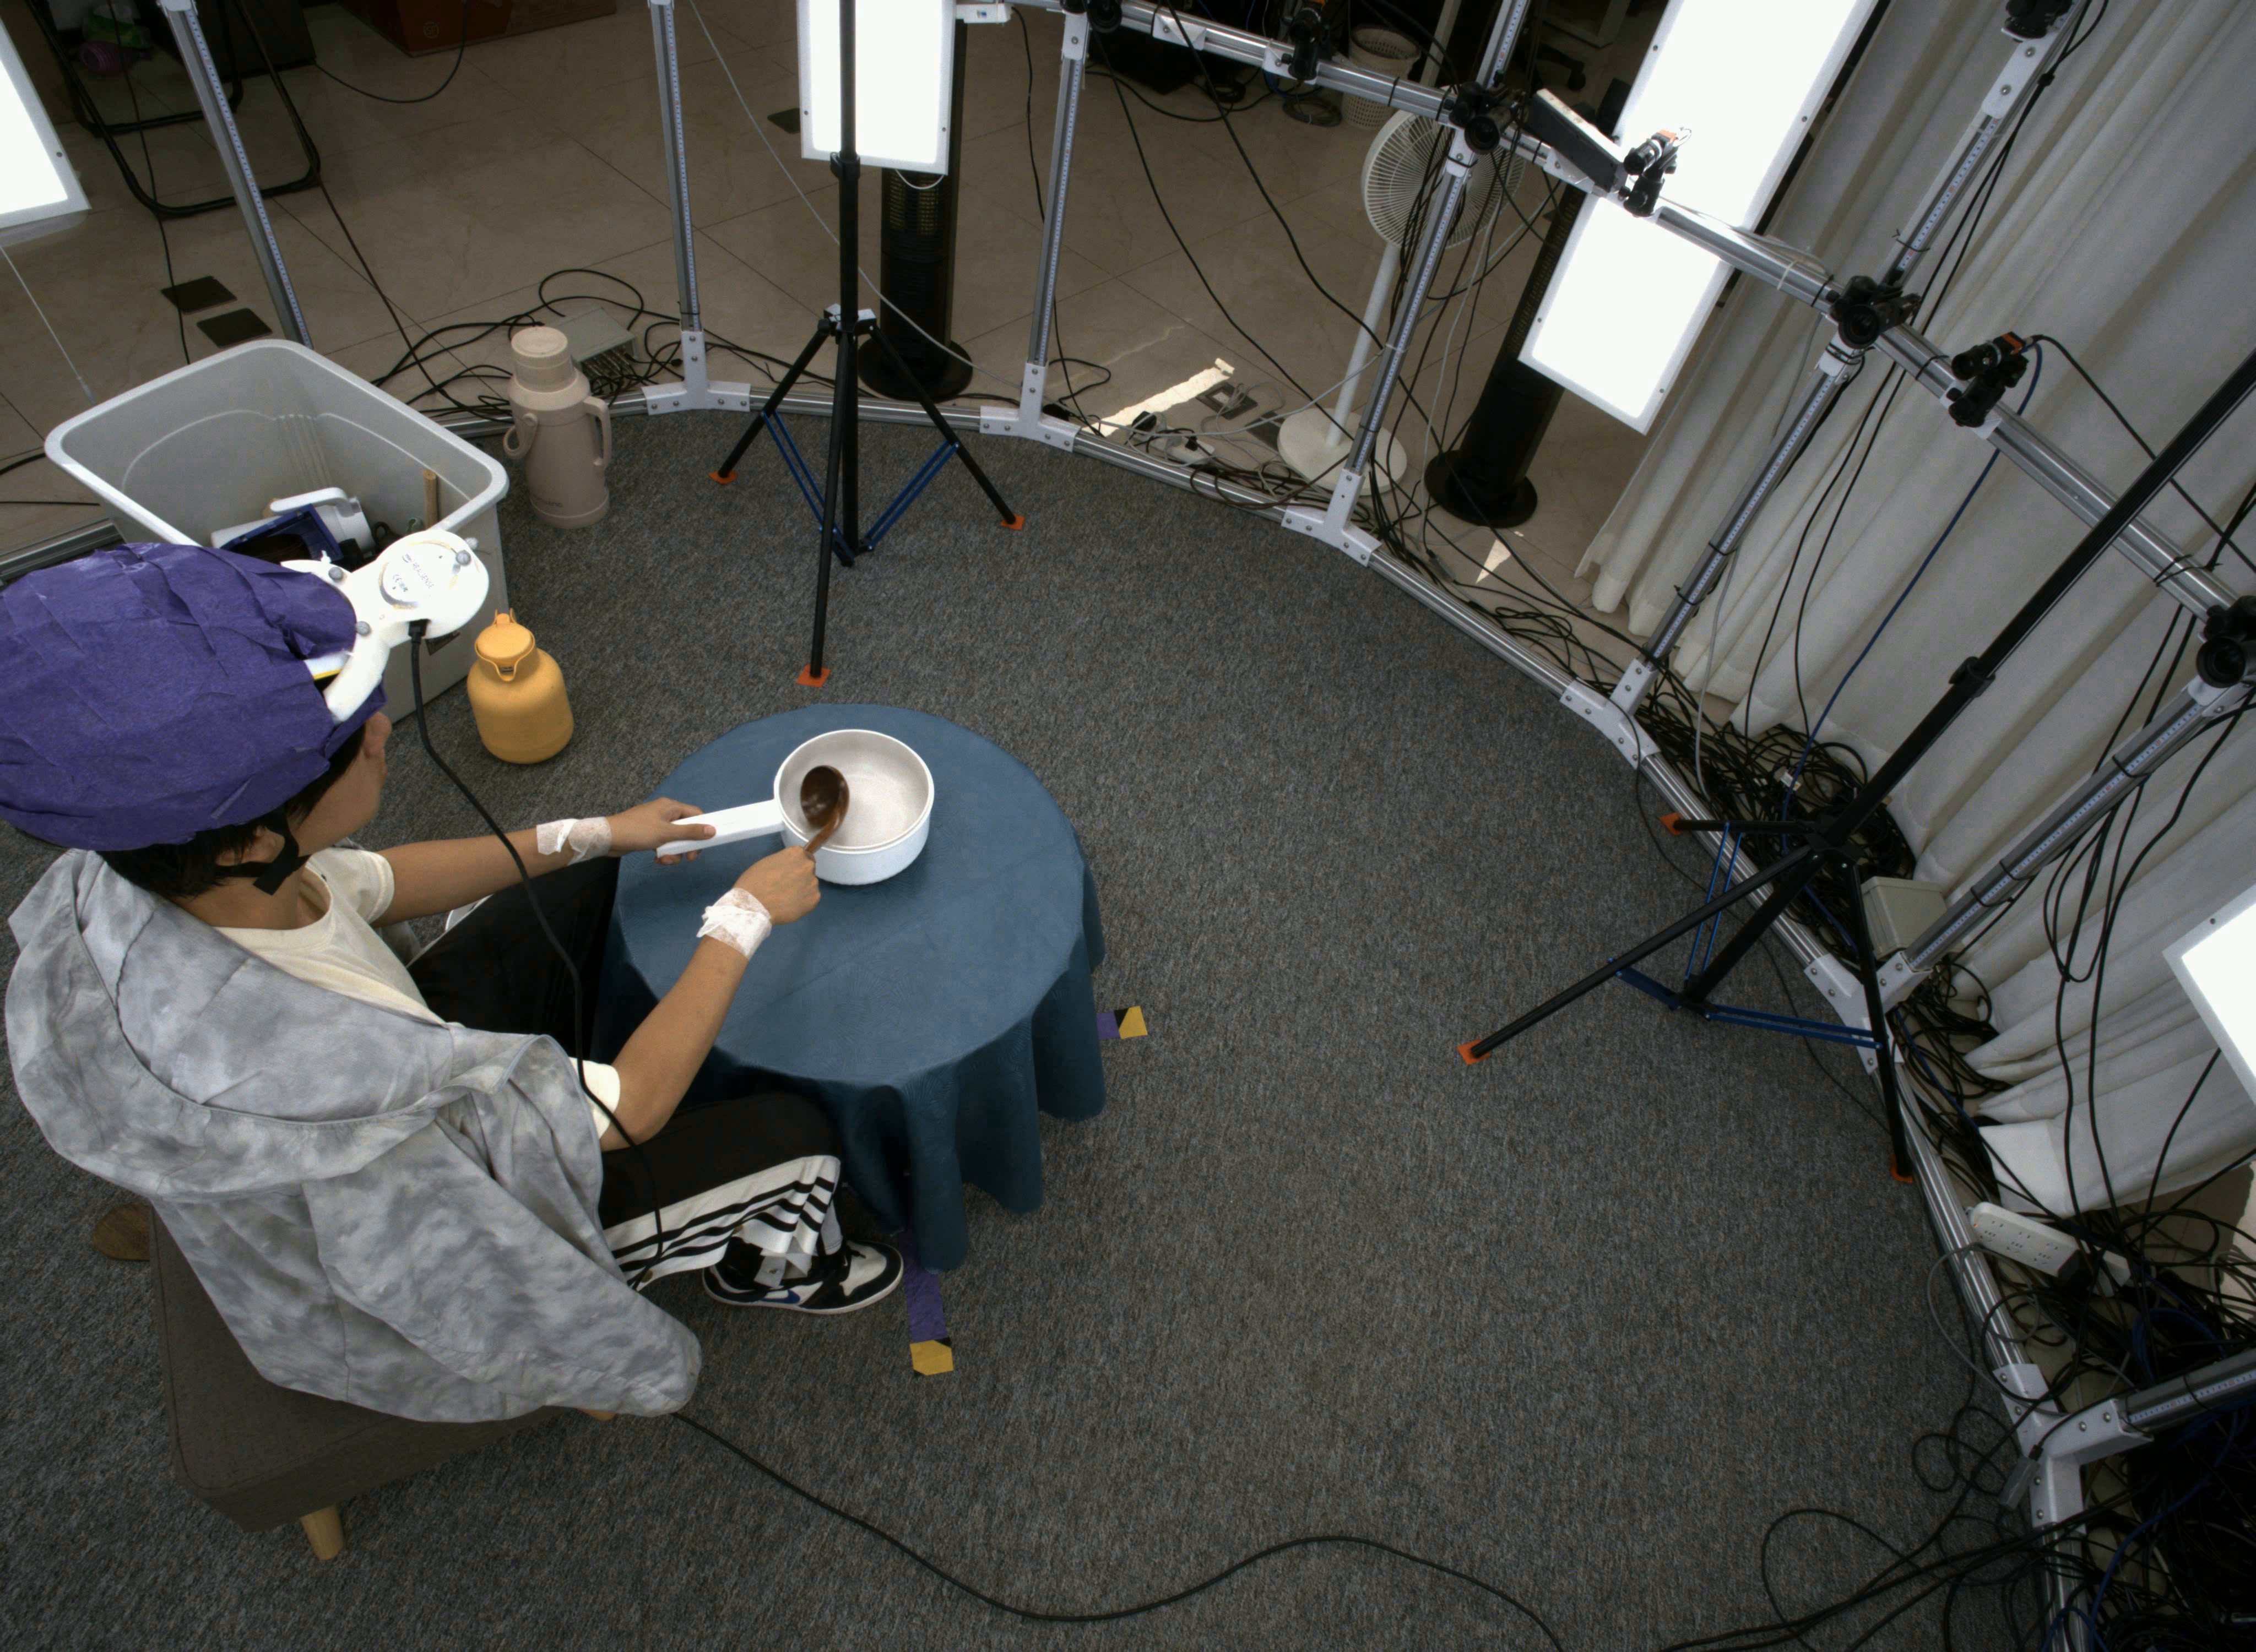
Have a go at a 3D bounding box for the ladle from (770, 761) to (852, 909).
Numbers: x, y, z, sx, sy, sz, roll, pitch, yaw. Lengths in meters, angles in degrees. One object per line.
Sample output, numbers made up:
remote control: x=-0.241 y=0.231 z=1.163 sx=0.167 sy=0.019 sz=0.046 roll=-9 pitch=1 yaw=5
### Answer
ladle: x=-0.398 y=0.005 z=1.553 sx=0.076 sy=0.083 sz=0.270 roll=24 pitch=29 yaw=-2

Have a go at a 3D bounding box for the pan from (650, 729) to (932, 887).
pan: x=-0.426 y=-0.002 z=1.664 sx=0.356 sy=0.104 sz=0.196 roll=-15 pitch=59 yaw=-22
